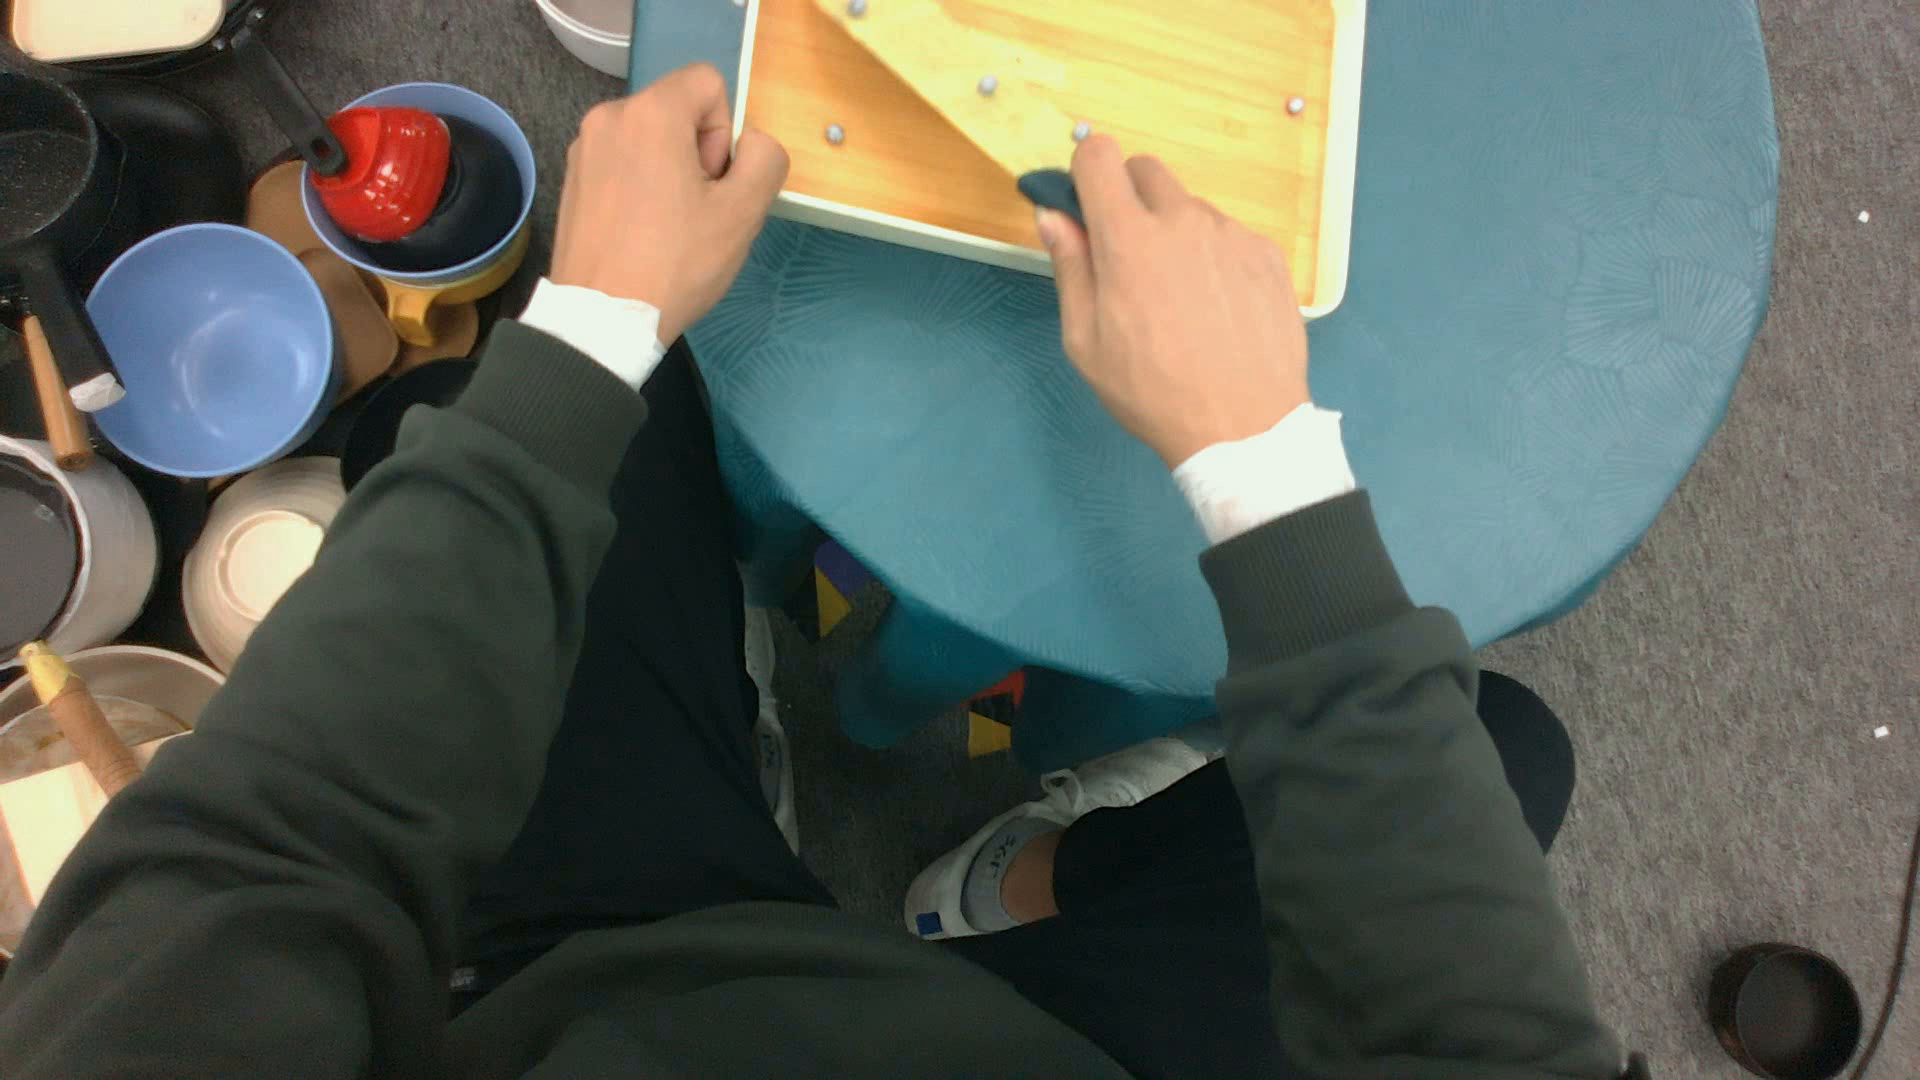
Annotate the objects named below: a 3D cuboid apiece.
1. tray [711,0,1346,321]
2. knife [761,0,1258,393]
[{"bbox_3d":[0.042,-0.222,0.655,0.300,0.027,0.192,9,80,-16],"label":"tray"},{"bbox_3d":[0.019,-0.166,0.601,0.289,0.027,0.081,42,43,6],"label":"knife"}]
